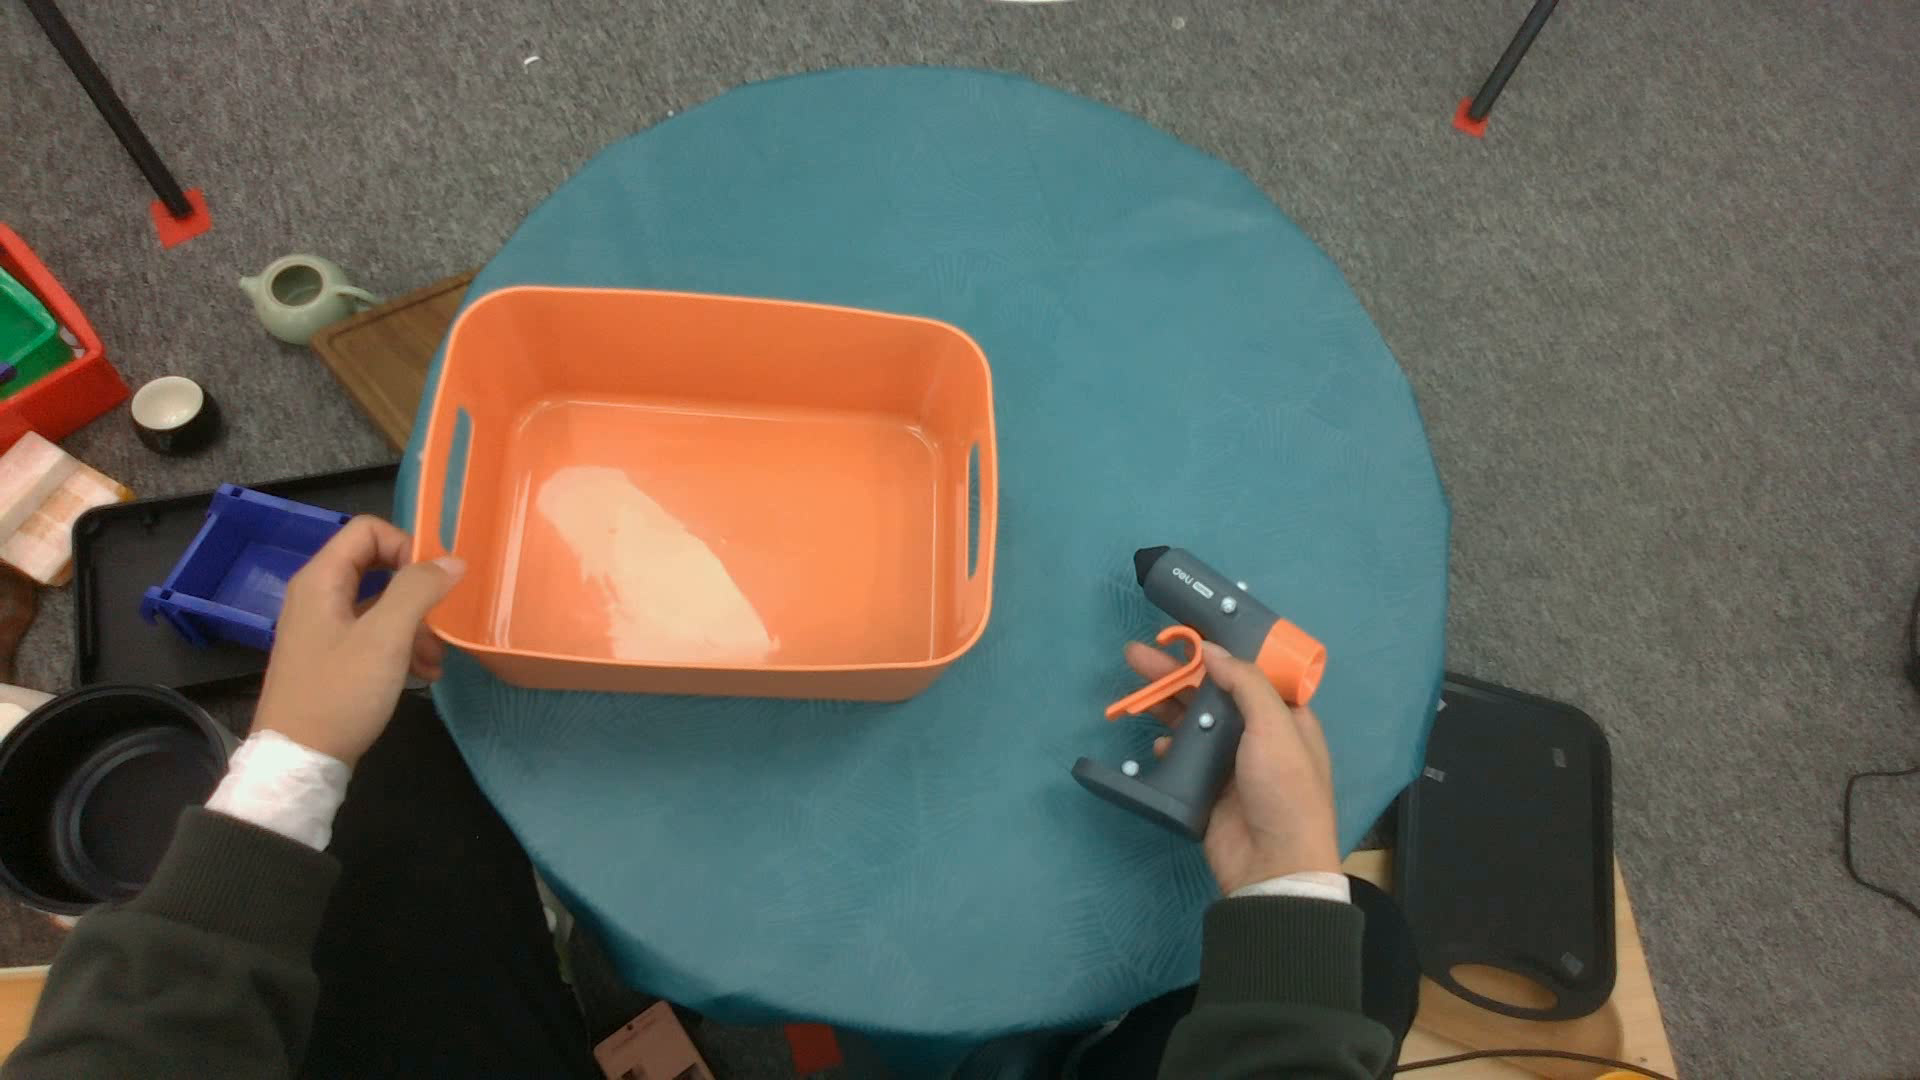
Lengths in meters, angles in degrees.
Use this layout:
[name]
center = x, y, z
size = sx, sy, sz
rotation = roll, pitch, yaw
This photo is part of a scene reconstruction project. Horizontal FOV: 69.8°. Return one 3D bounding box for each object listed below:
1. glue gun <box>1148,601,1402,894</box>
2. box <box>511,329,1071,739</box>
[glue gun]
center = 0.157, 0.103, 0.720
size = 0.118, 0.041, 0.140
rotation = 19, 69, 37
[box]
center = -0.082, 0.005, 0.734
size = 0.273, 0.102, 0.200
rotation = 5, 66, -4
